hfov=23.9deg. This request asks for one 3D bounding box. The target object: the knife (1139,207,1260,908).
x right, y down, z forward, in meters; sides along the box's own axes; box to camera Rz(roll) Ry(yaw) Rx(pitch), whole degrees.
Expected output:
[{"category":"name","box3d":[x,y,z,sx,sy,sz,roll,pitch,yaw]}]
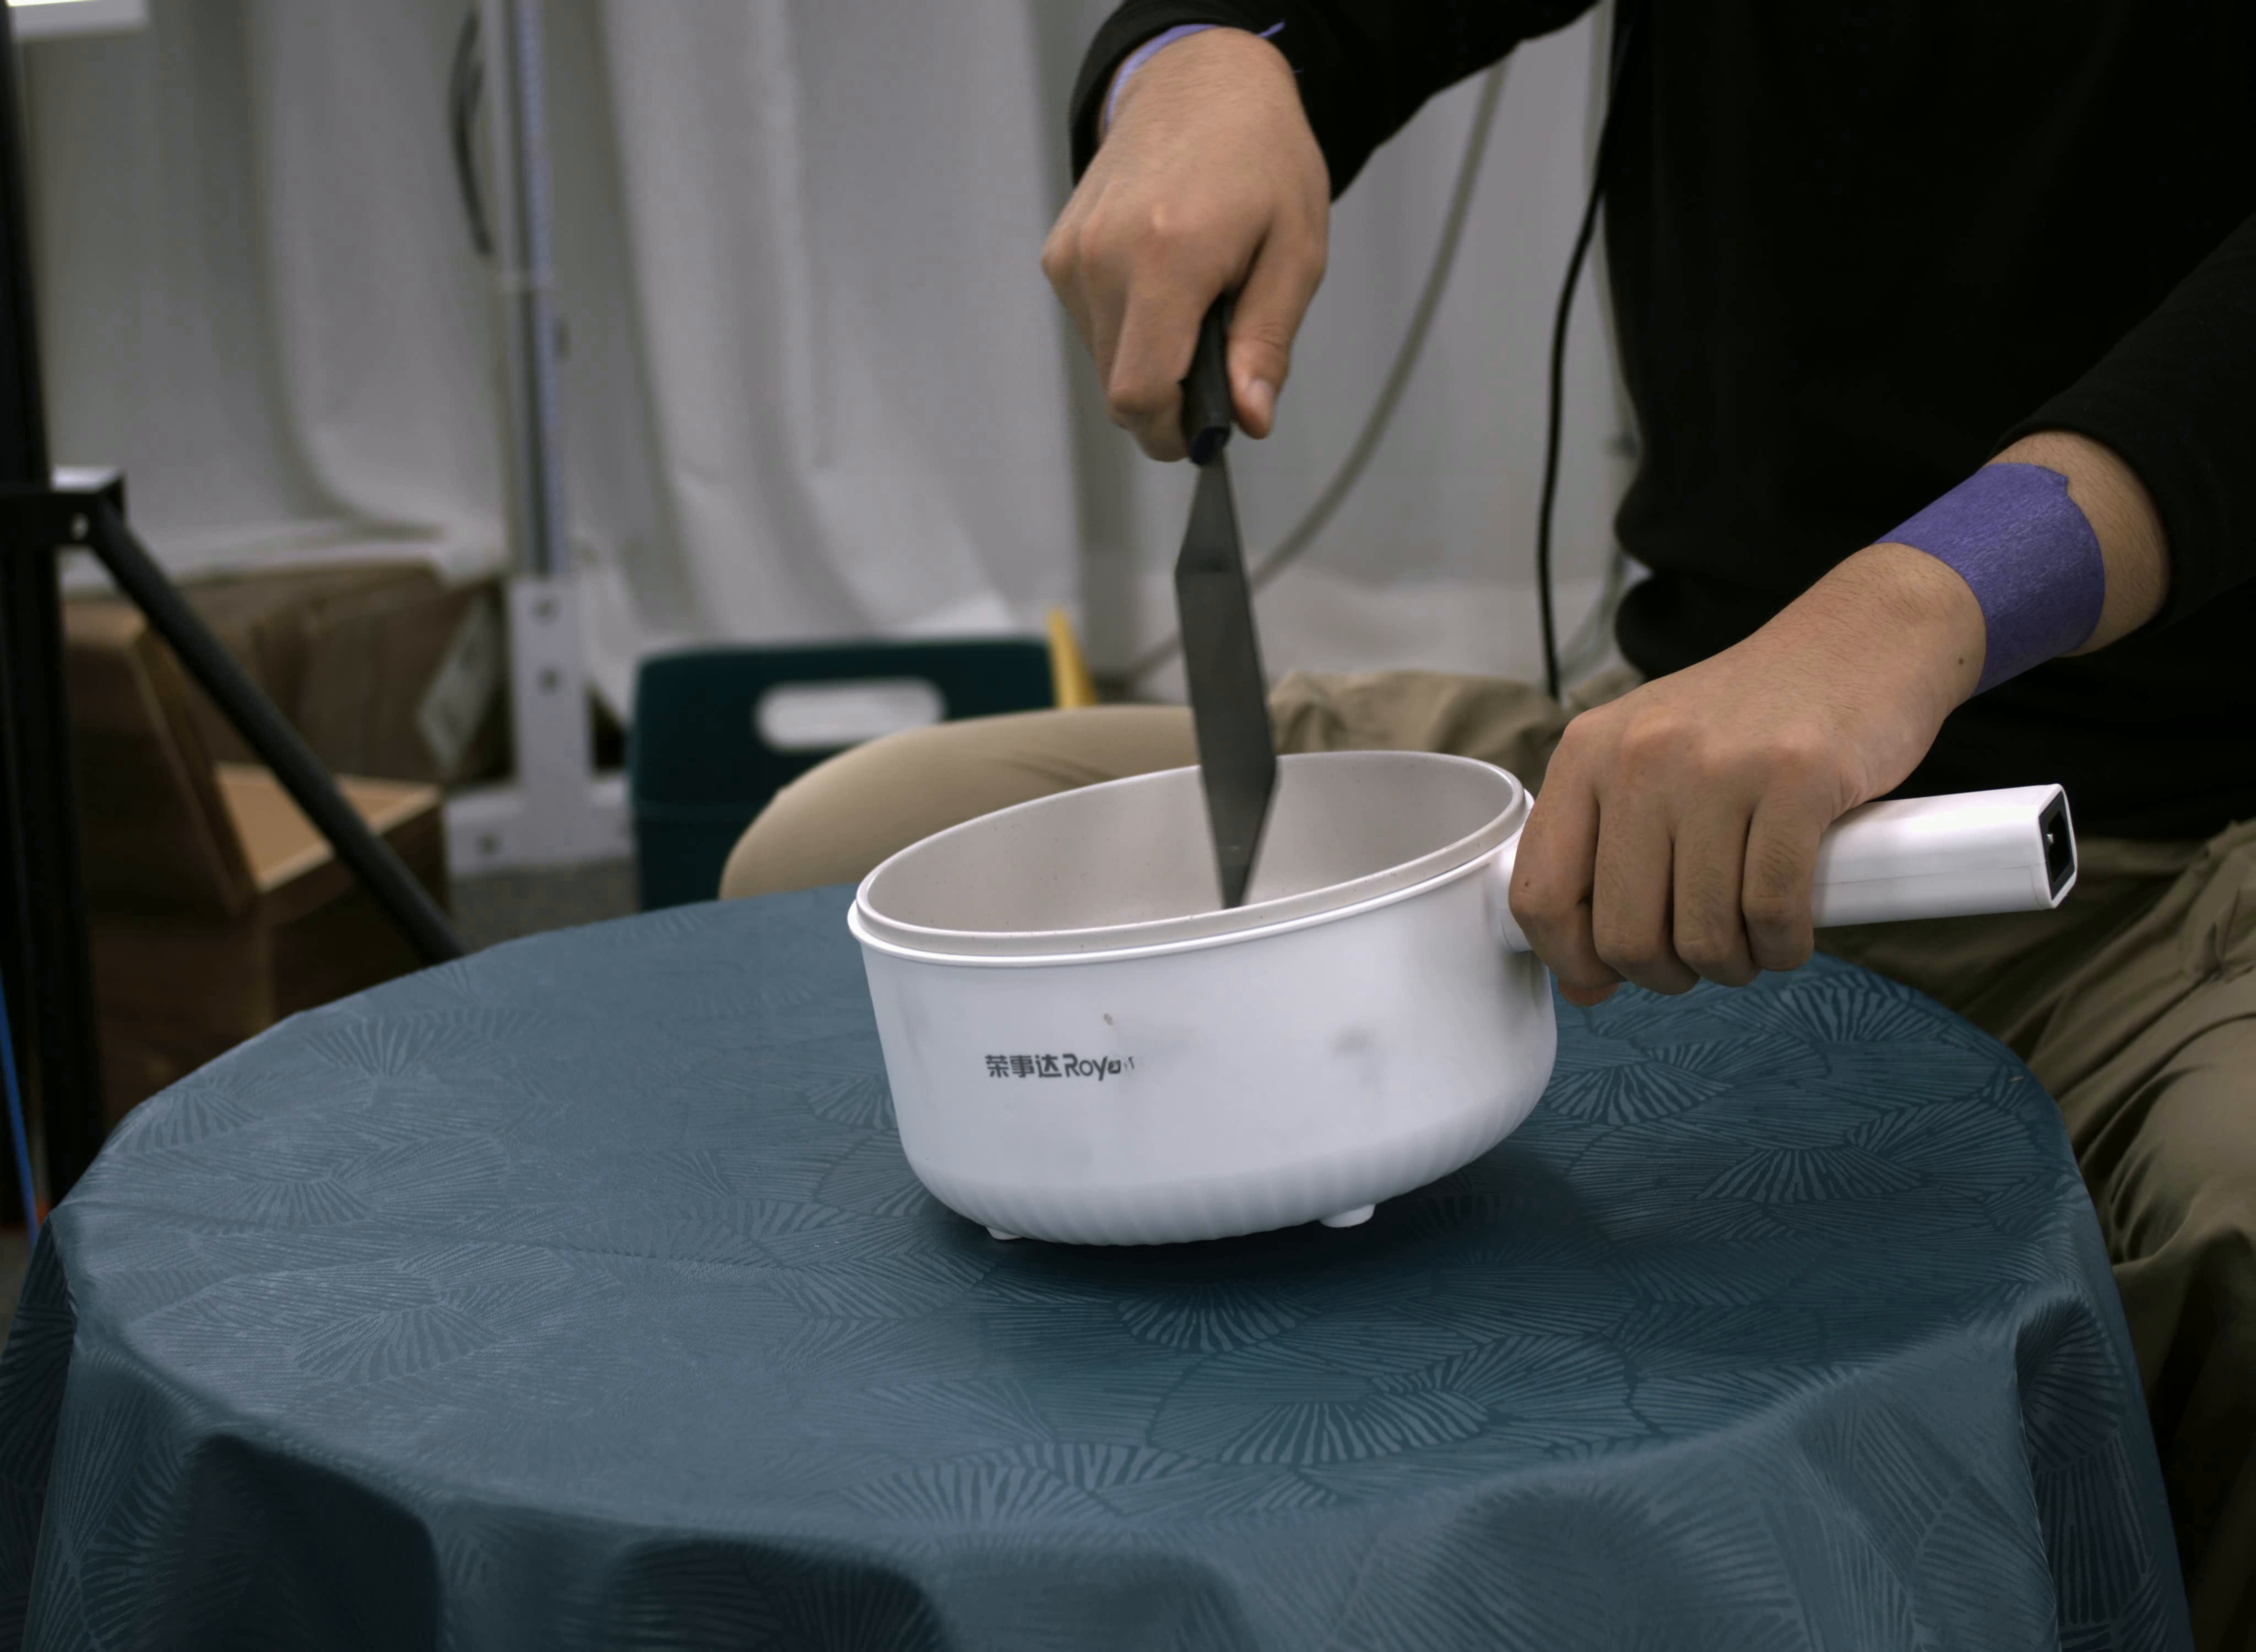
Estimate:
[{"category":"knife","box3d":[0.021,-0.086,1.584,0.020,0.081,0.306,7,42,-10]}]

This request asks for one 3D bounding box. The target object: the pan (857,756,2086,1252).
[{"category":"pan","box3d":[0.097,0.050,1.503,0.360,0.102,0.198,-2,14,25]}]
